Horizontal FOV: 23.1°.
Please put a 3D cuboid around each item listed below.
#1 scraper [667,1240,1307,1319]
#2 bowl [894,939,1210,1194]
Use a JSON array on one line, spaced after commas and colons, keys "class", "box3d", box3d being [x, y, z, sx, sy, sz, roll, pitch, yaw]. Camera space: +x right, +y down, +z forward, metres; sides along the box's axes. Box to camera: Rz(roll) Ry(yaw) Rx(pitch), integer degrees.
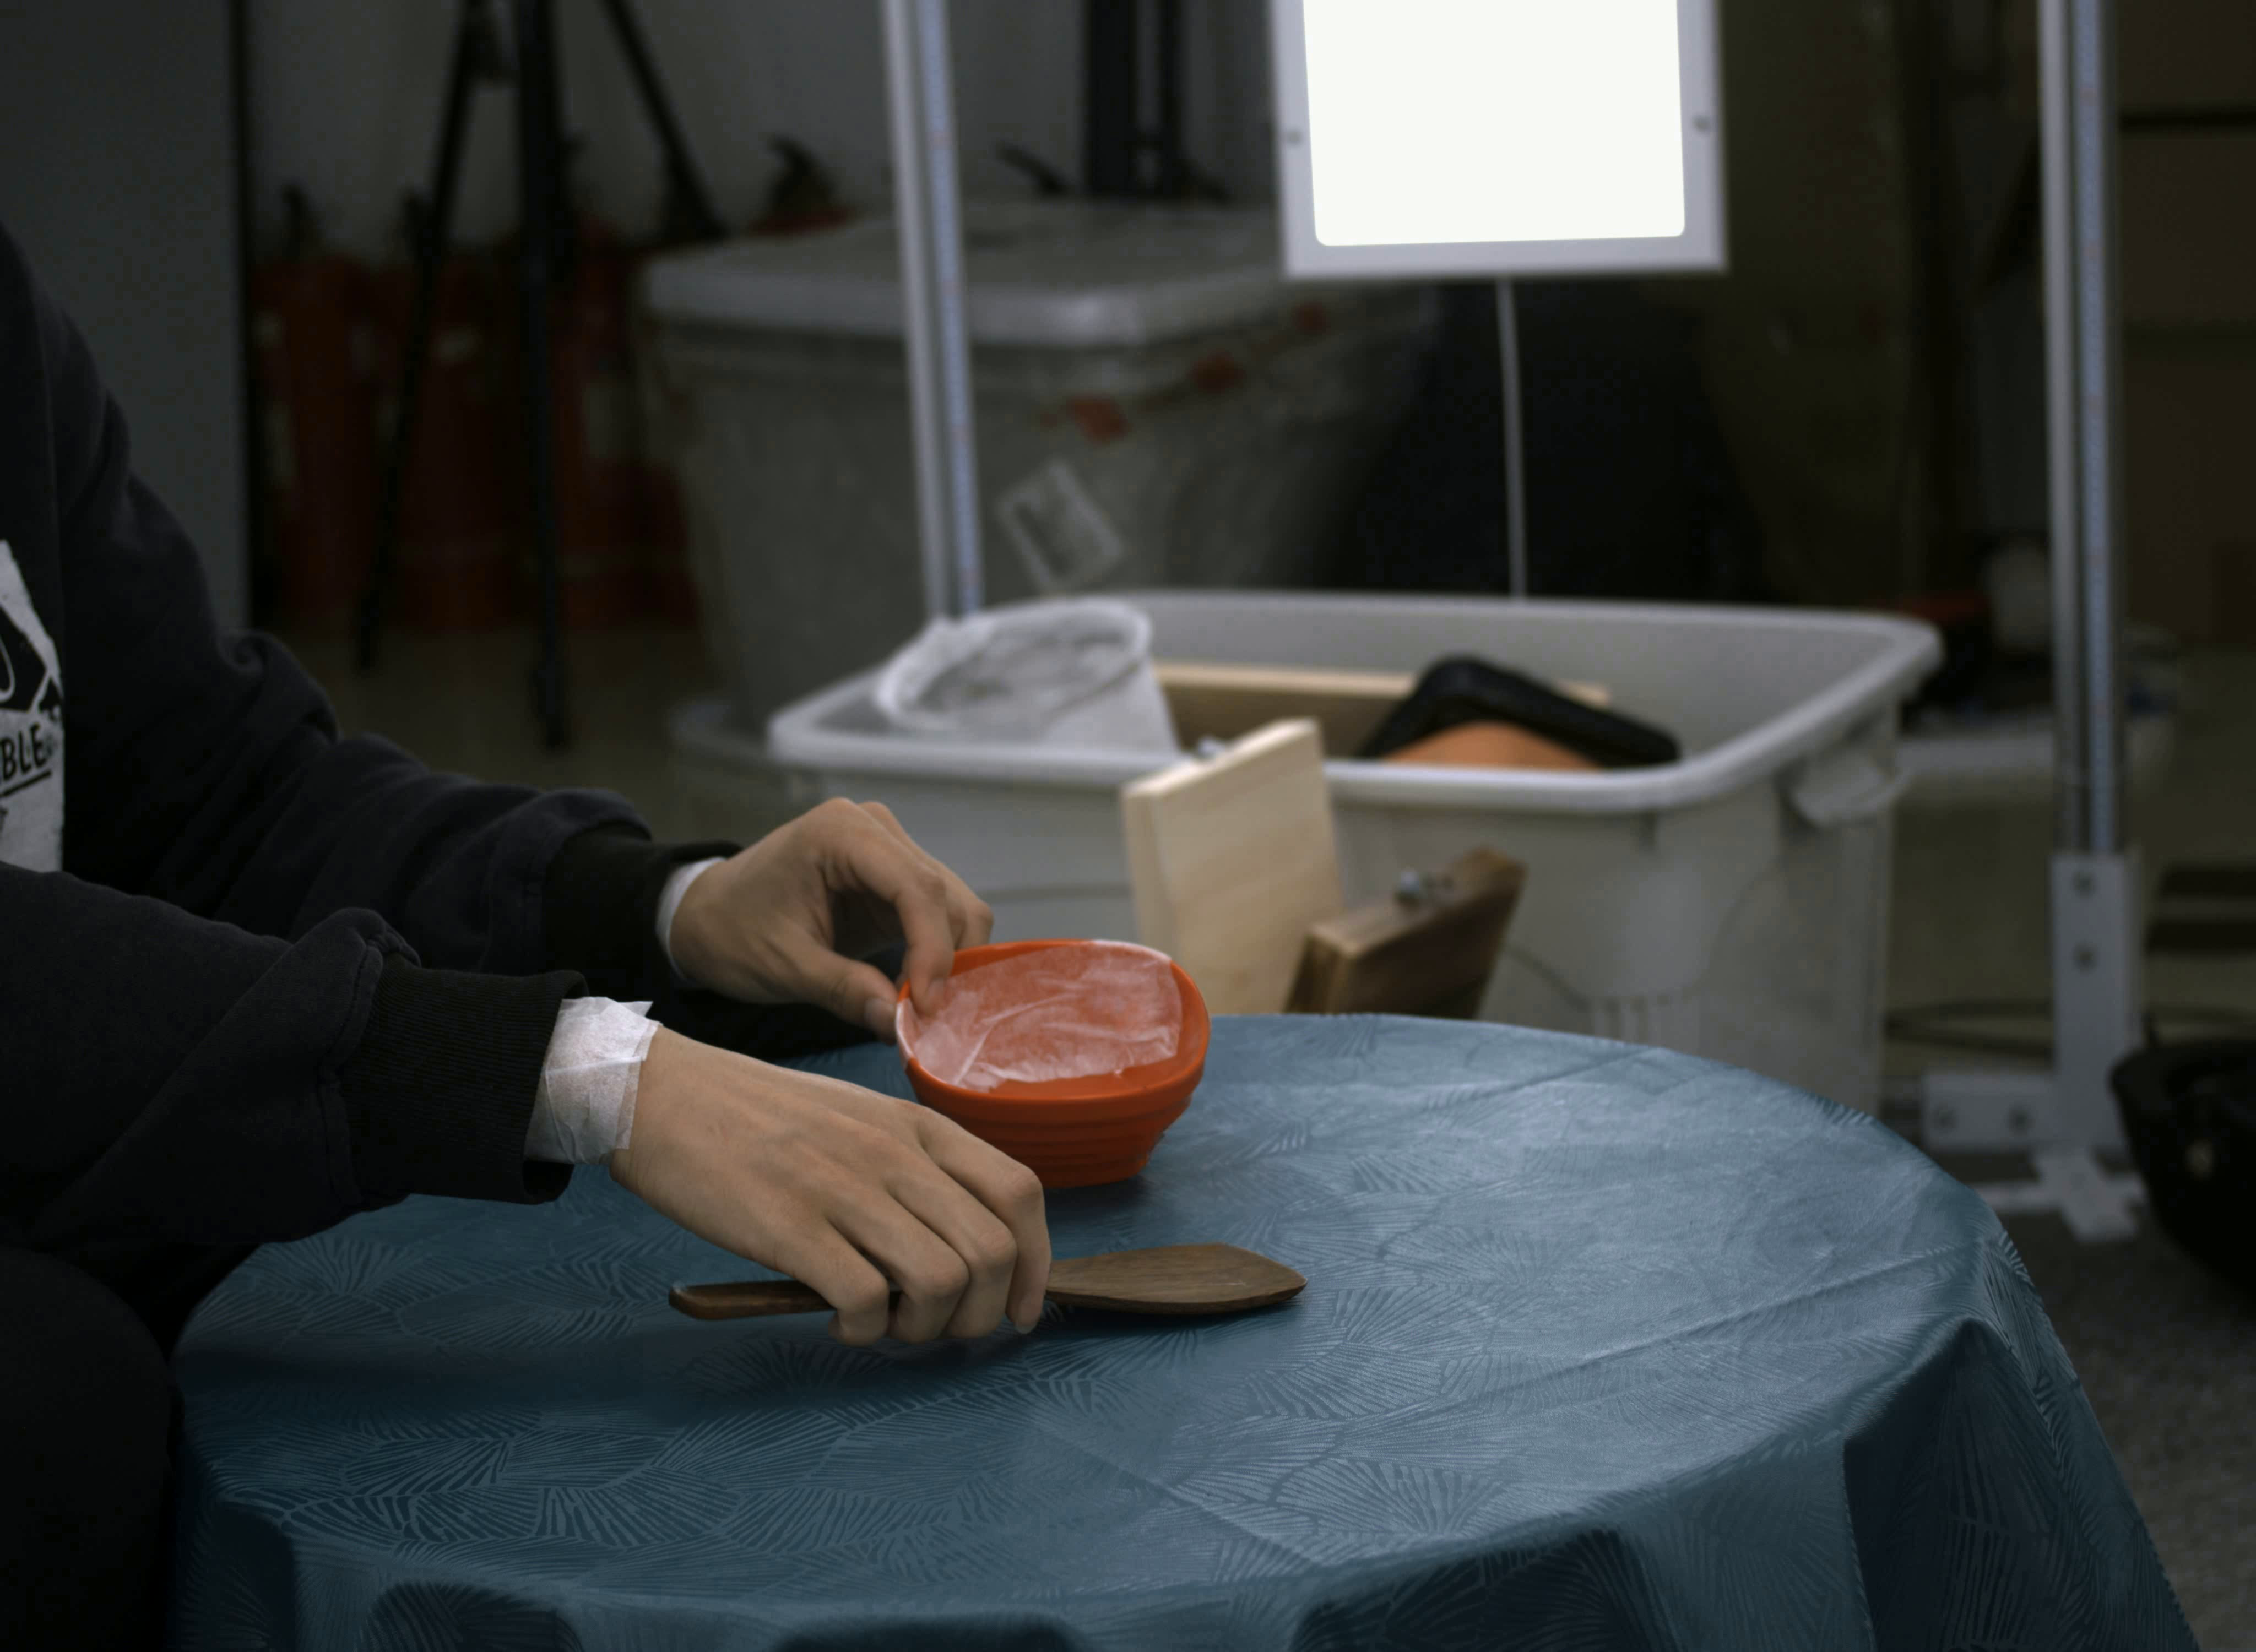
[{"class": "scraper", "box3d": [-0.047, 0.148, 1.757, 0.207, 0.011, 0.077, -1, 8, -25]}, {"class": "bowl", "box3d": [-0.026, 0.089, 1.926, 0.118, 0.051, 0.118, -2, 30, -1]}]
